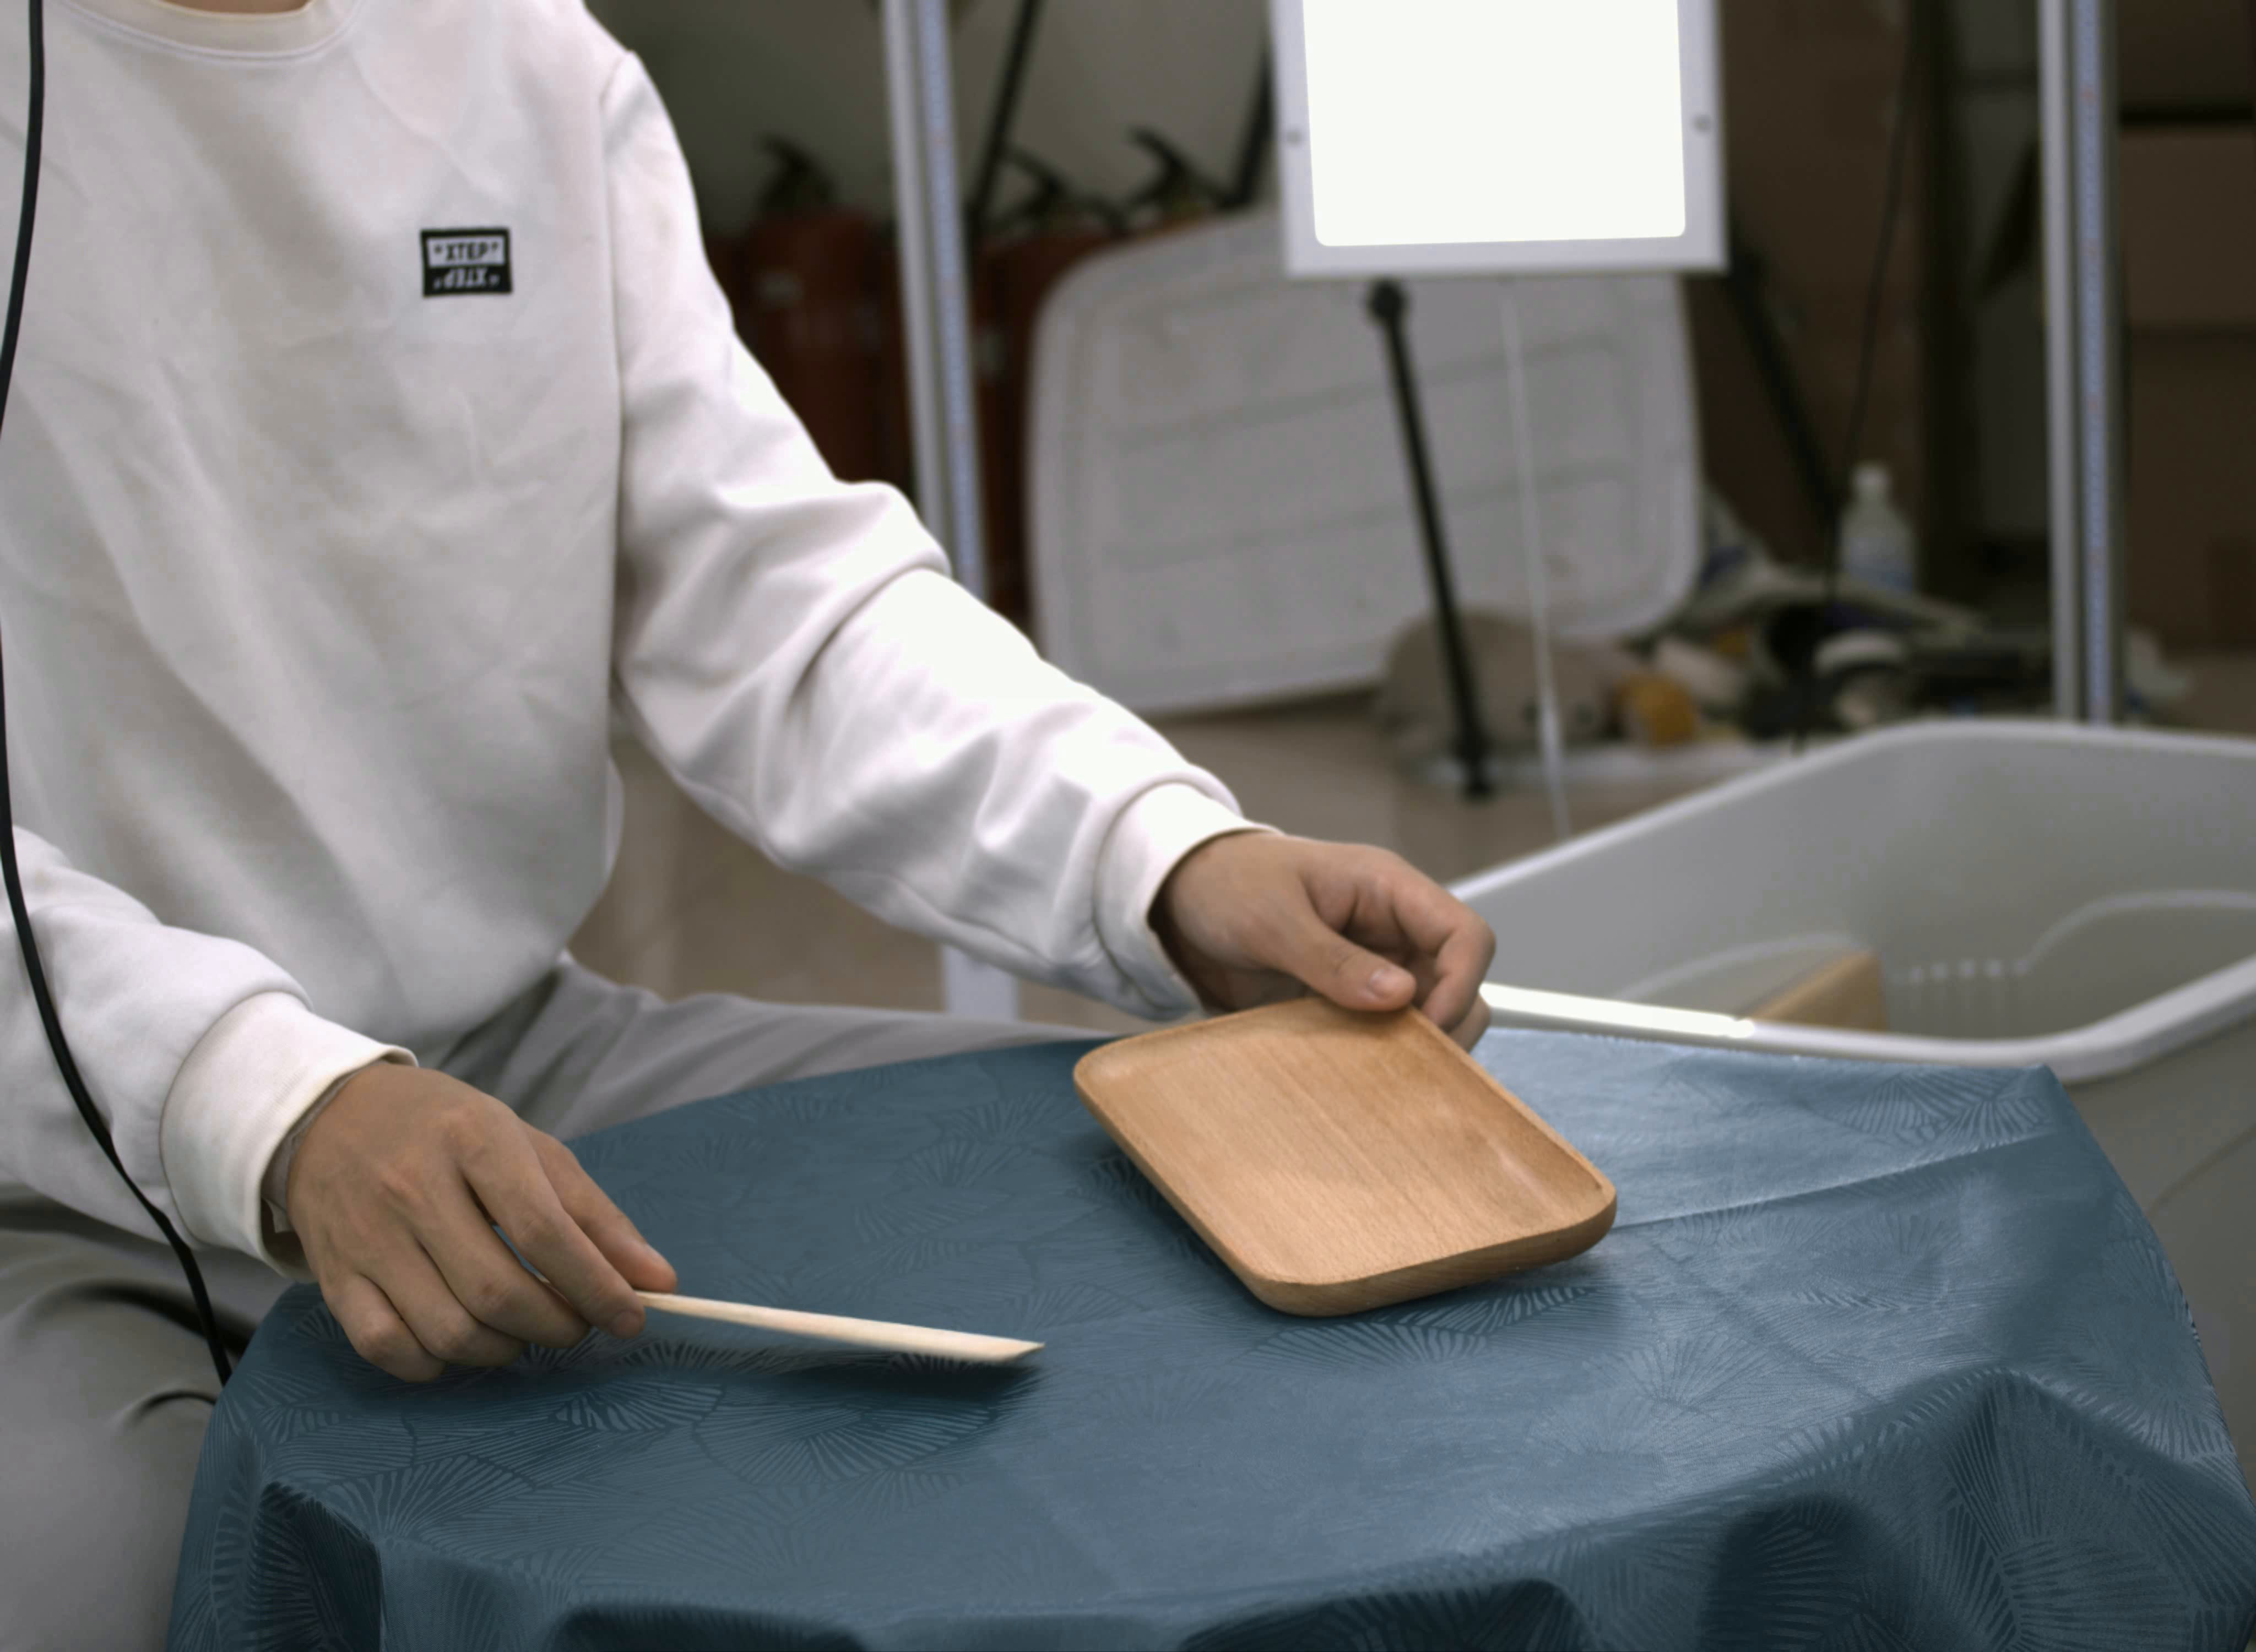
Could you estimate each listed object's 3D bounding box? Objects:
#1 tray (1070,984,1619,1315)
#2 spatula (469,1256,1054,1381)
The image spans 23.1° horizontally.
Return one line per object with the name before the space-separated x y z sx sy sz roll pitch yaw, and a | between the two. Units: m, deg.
tray | 0.070 0.107 1.867 0.129 0.023 0.253 -11 18 -13
spatula | -0.123 0.155 1.758 0.211 0.005 0.049 8 5 30
